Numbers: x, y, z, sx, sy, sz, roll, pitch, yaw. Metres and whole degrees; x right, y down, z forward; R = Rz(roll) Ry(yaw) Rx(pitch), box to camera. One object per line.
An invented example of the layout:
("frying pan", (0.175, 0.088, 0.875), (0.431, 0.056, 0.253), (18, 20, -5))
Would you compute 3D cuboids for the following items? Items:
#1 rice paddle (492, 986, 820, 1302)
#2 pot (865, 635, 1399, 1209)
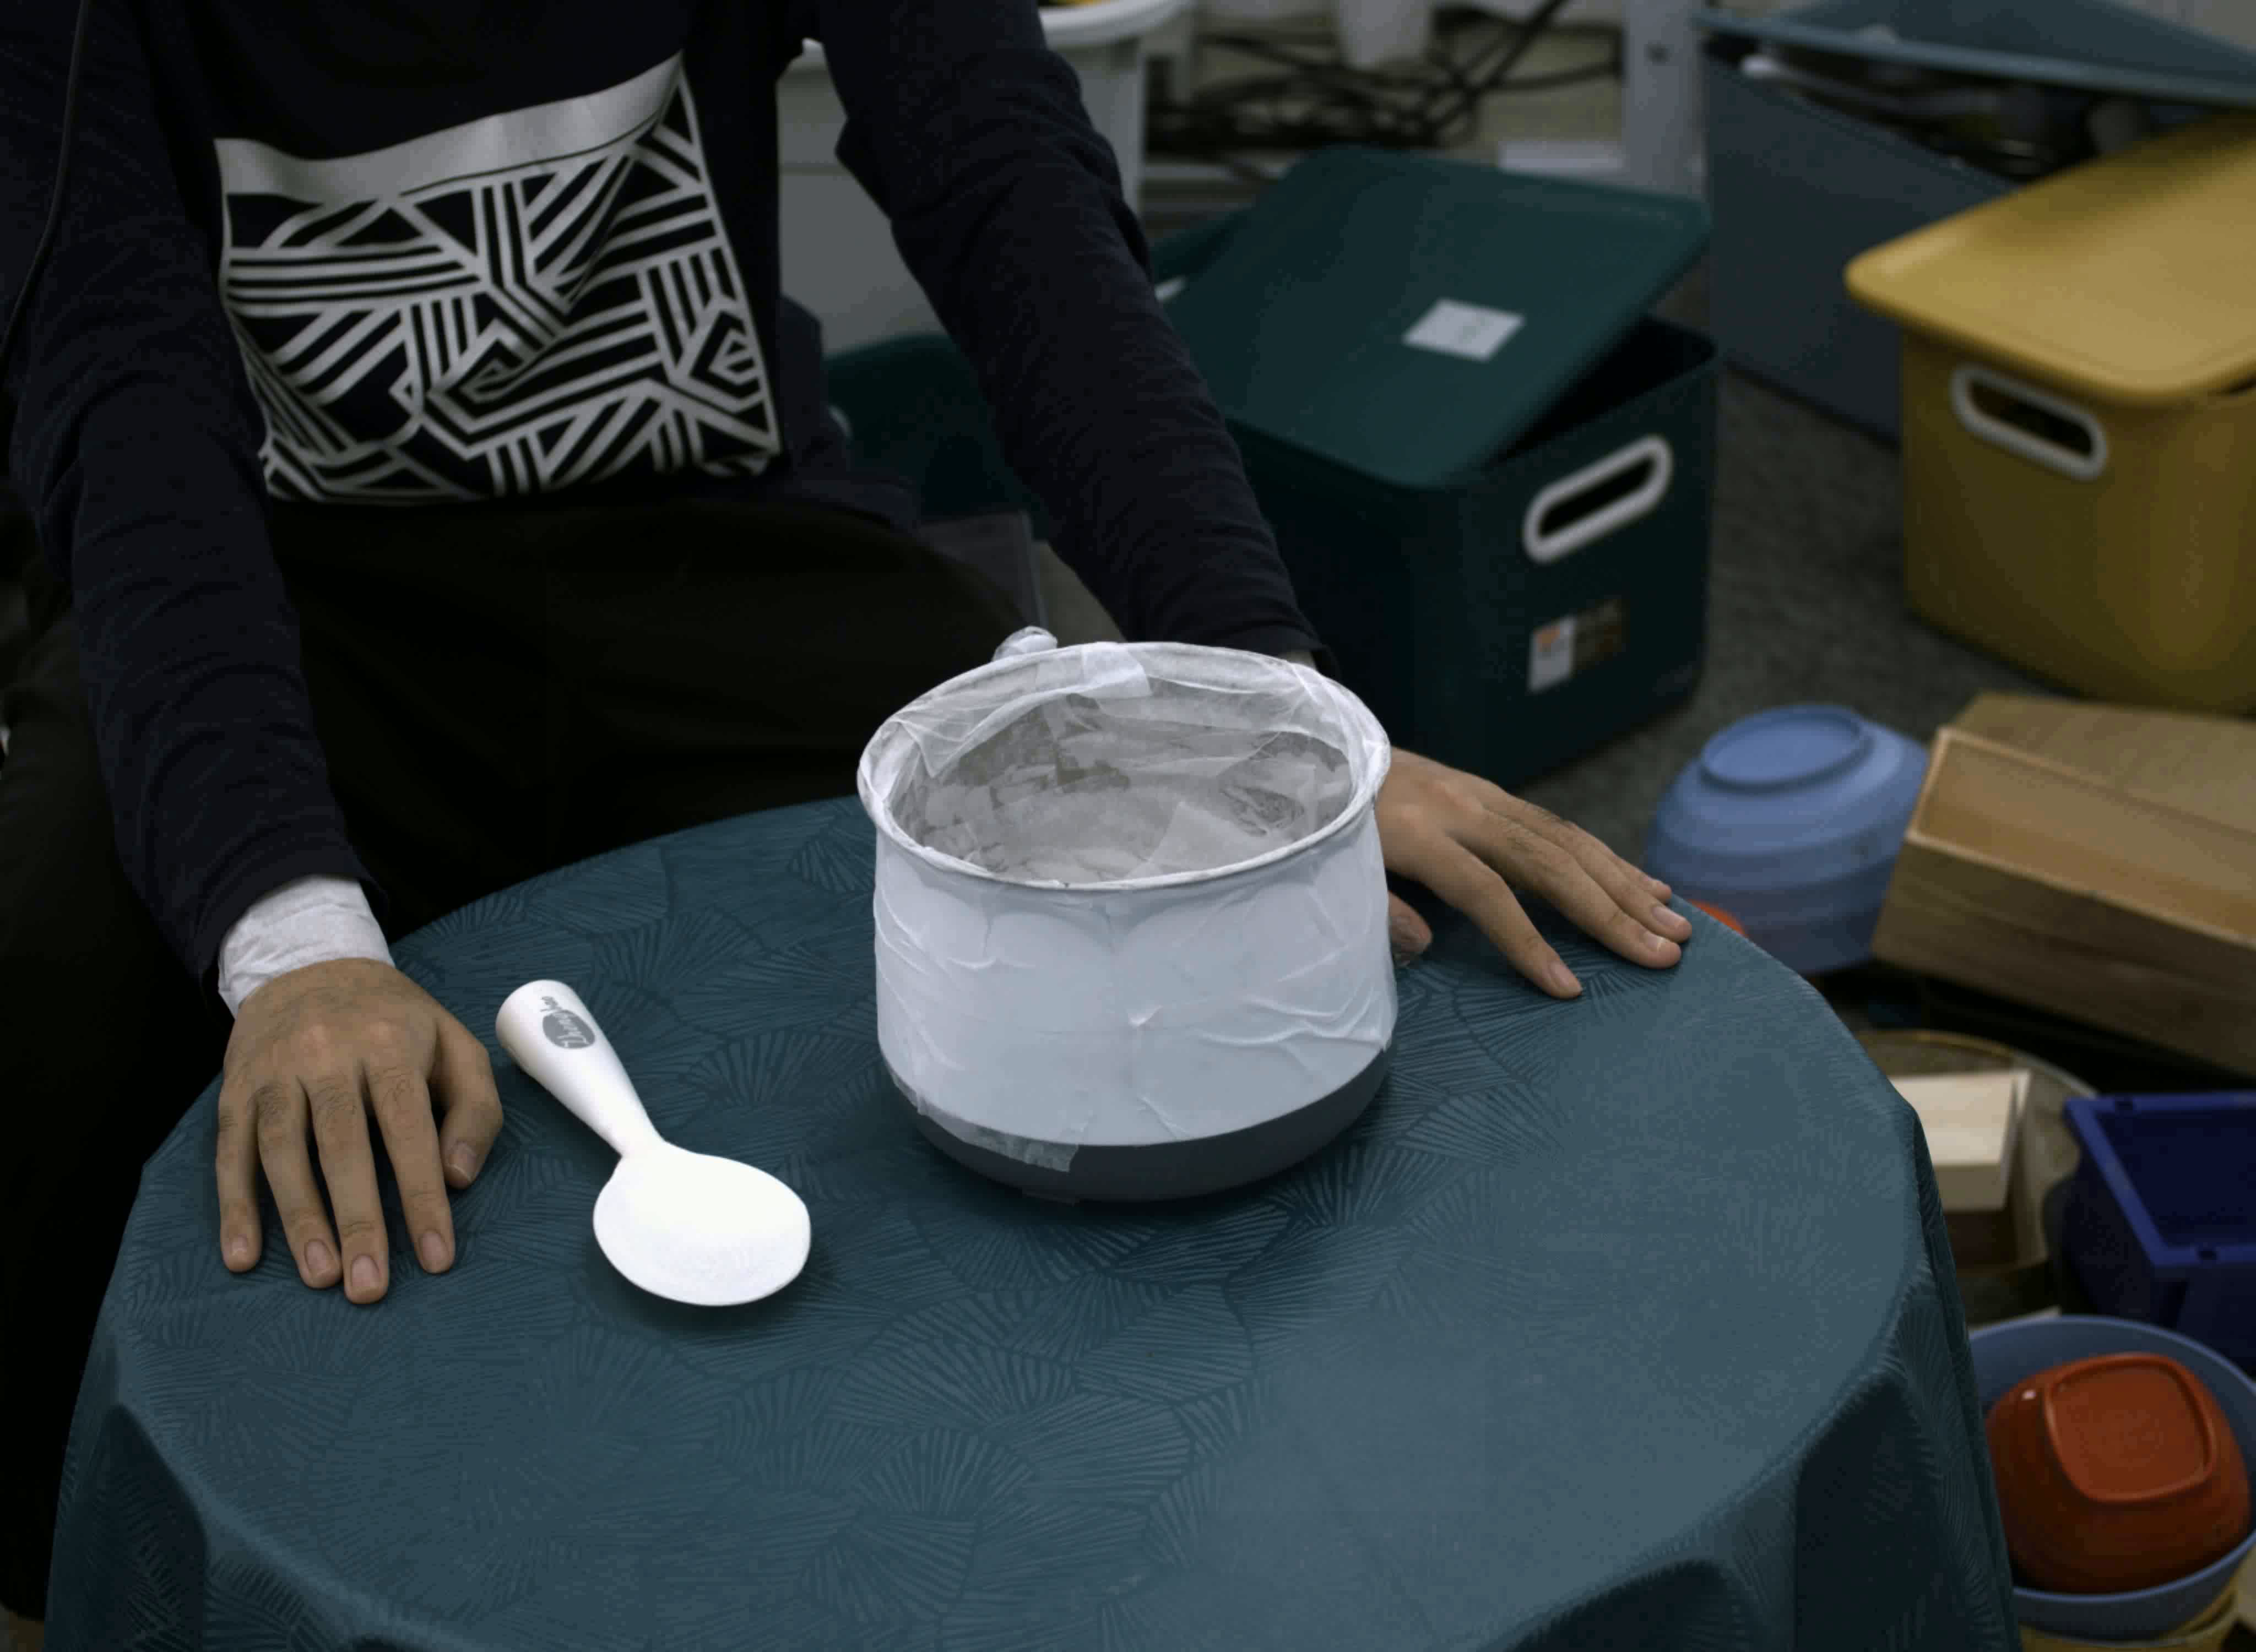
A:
("rice paddle", (-0.162, 0.108, 1.873), (0.069, 0.029, 0.206), (-17, 29, -21))
("pot", (-0.007, 0.025, 1.910), (0.179, 0.135, 0.235), (-10, 26, -17))
